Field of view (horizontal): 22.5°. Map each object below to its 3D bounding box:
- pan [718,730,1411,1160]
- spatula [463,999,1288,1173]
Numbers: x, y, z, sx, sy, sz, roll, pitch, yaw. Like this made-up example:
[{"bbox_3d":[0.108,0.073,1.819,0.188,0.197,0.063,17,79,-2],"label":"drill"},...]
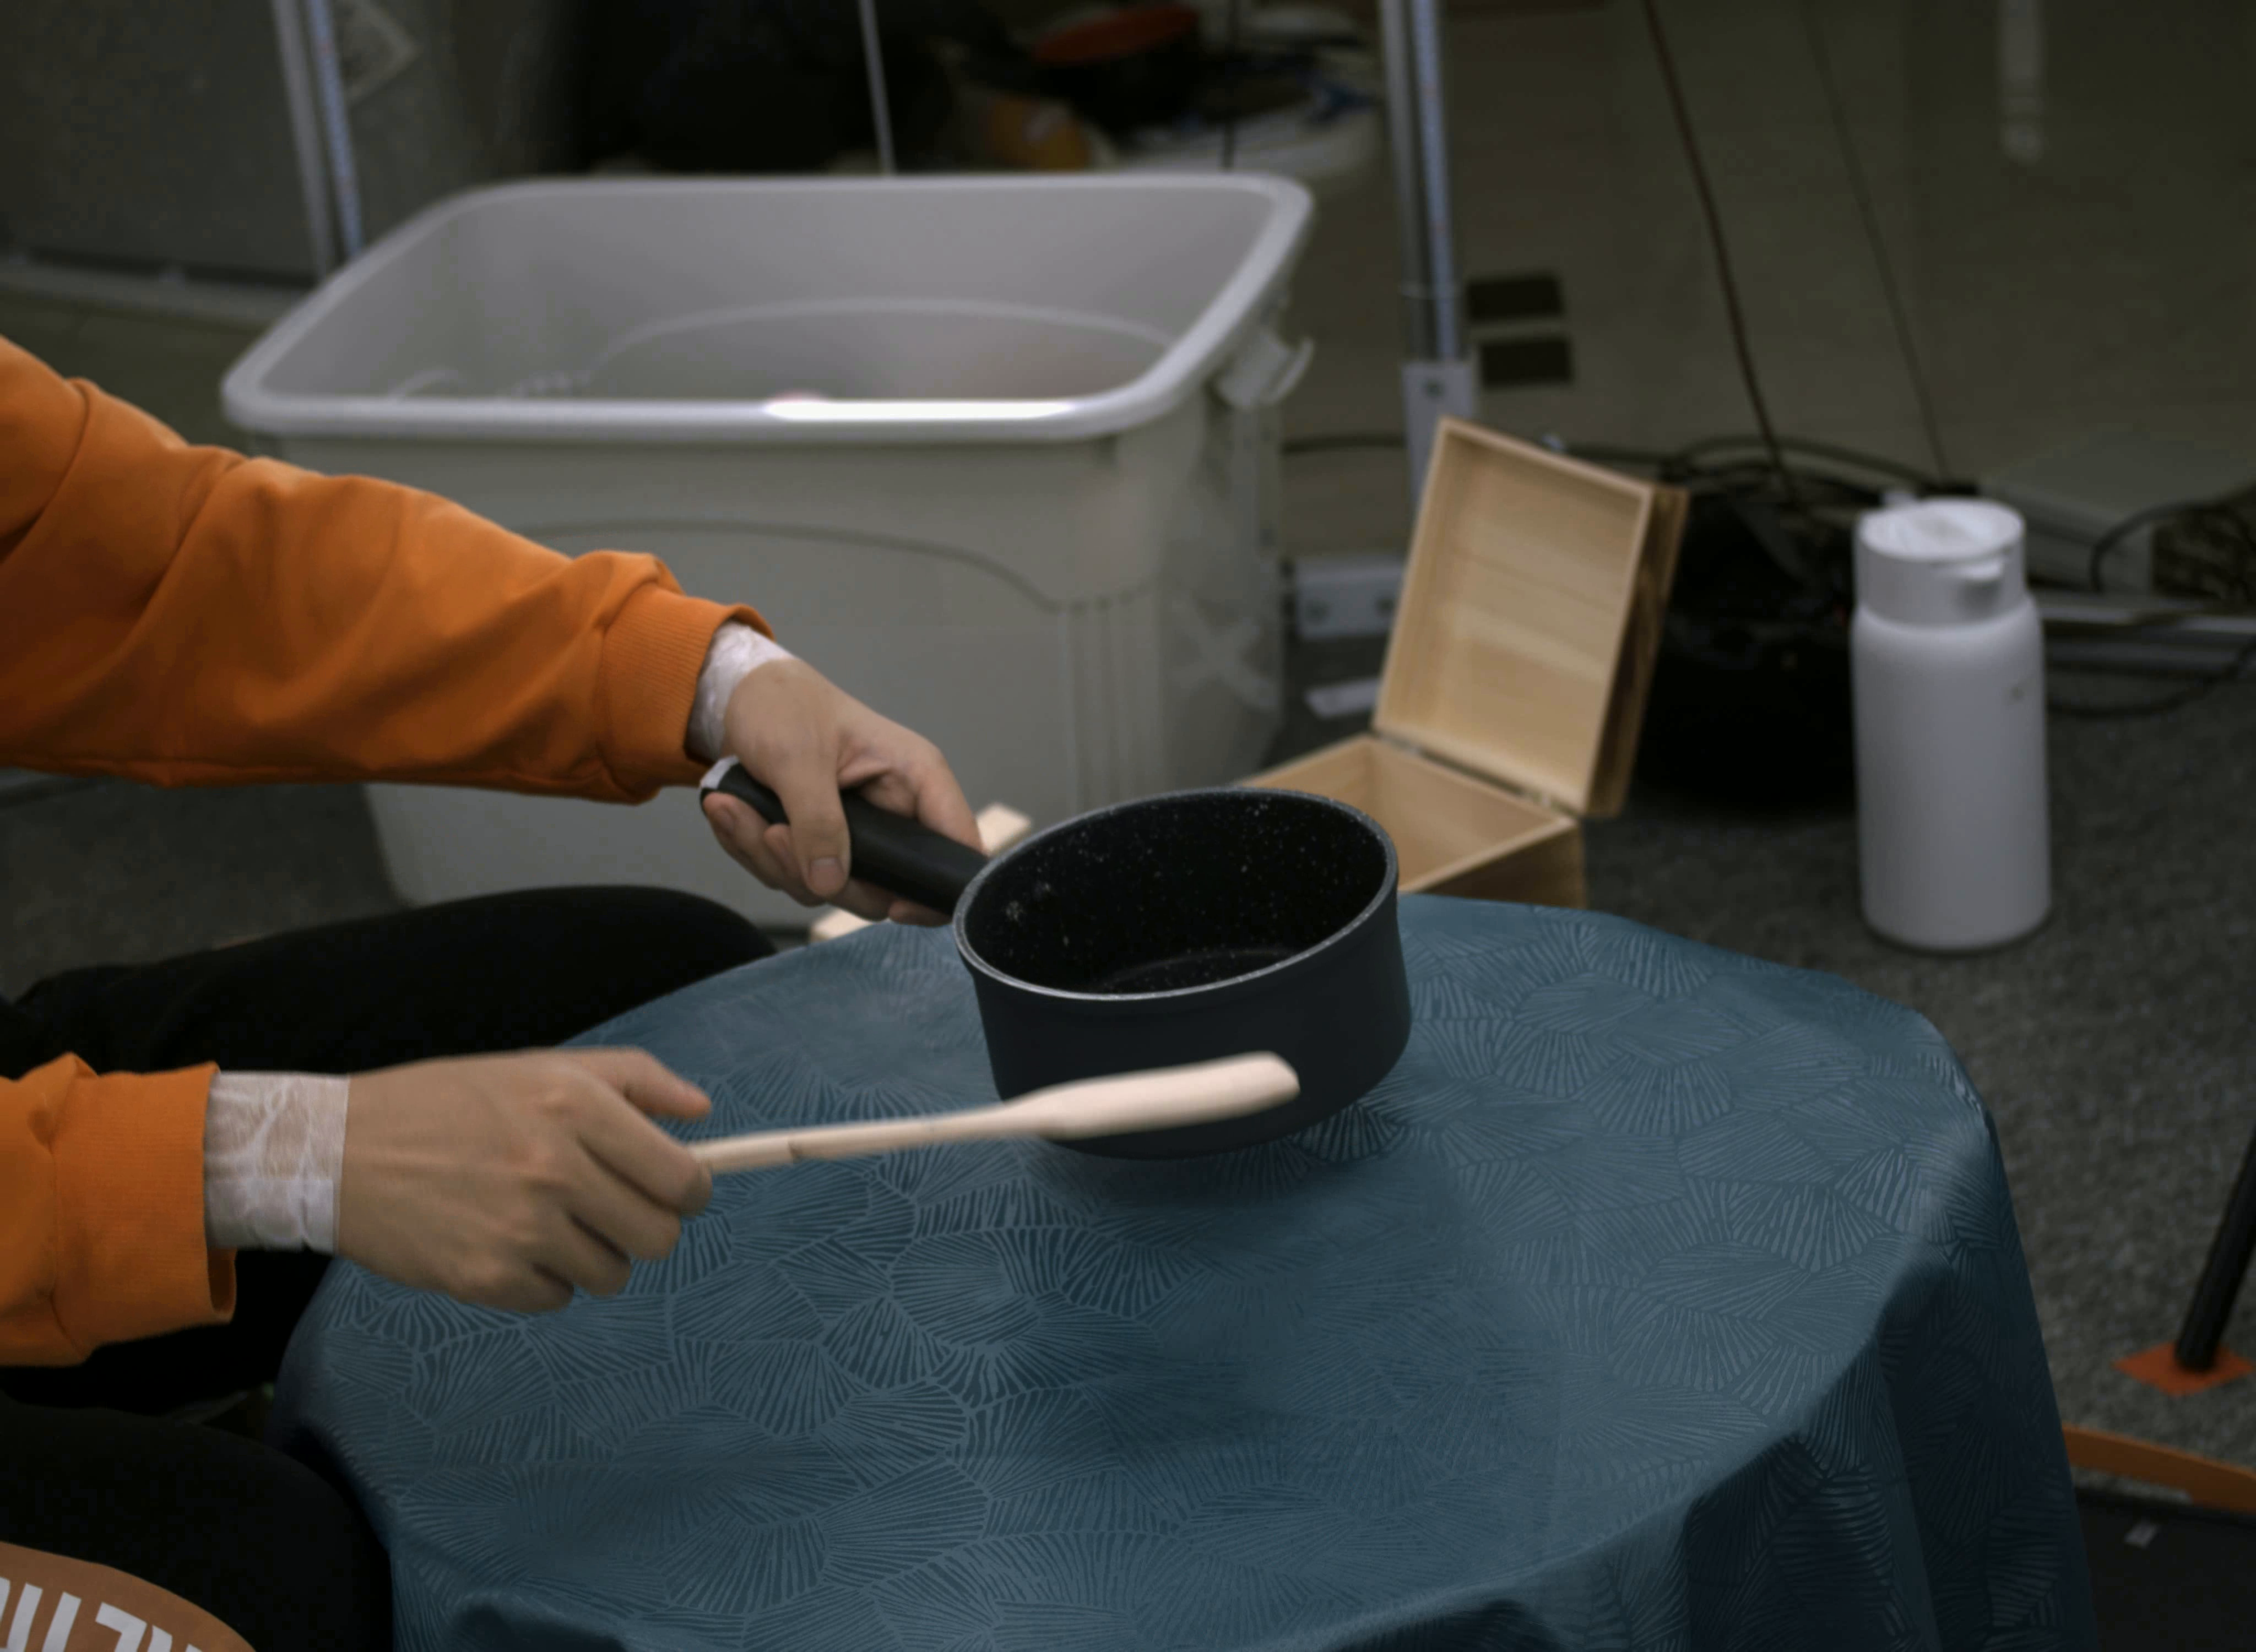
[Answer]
[{"bbox_3d":[-0.036,0.037,2.213,0.326,0.088,0.170,17,37,40],"label":"pan"},{"bbox_3d":[-0.088,0.092,1.986,0.292,0.010,0.072,-10,-3,-9],"label":"spatula"}]
